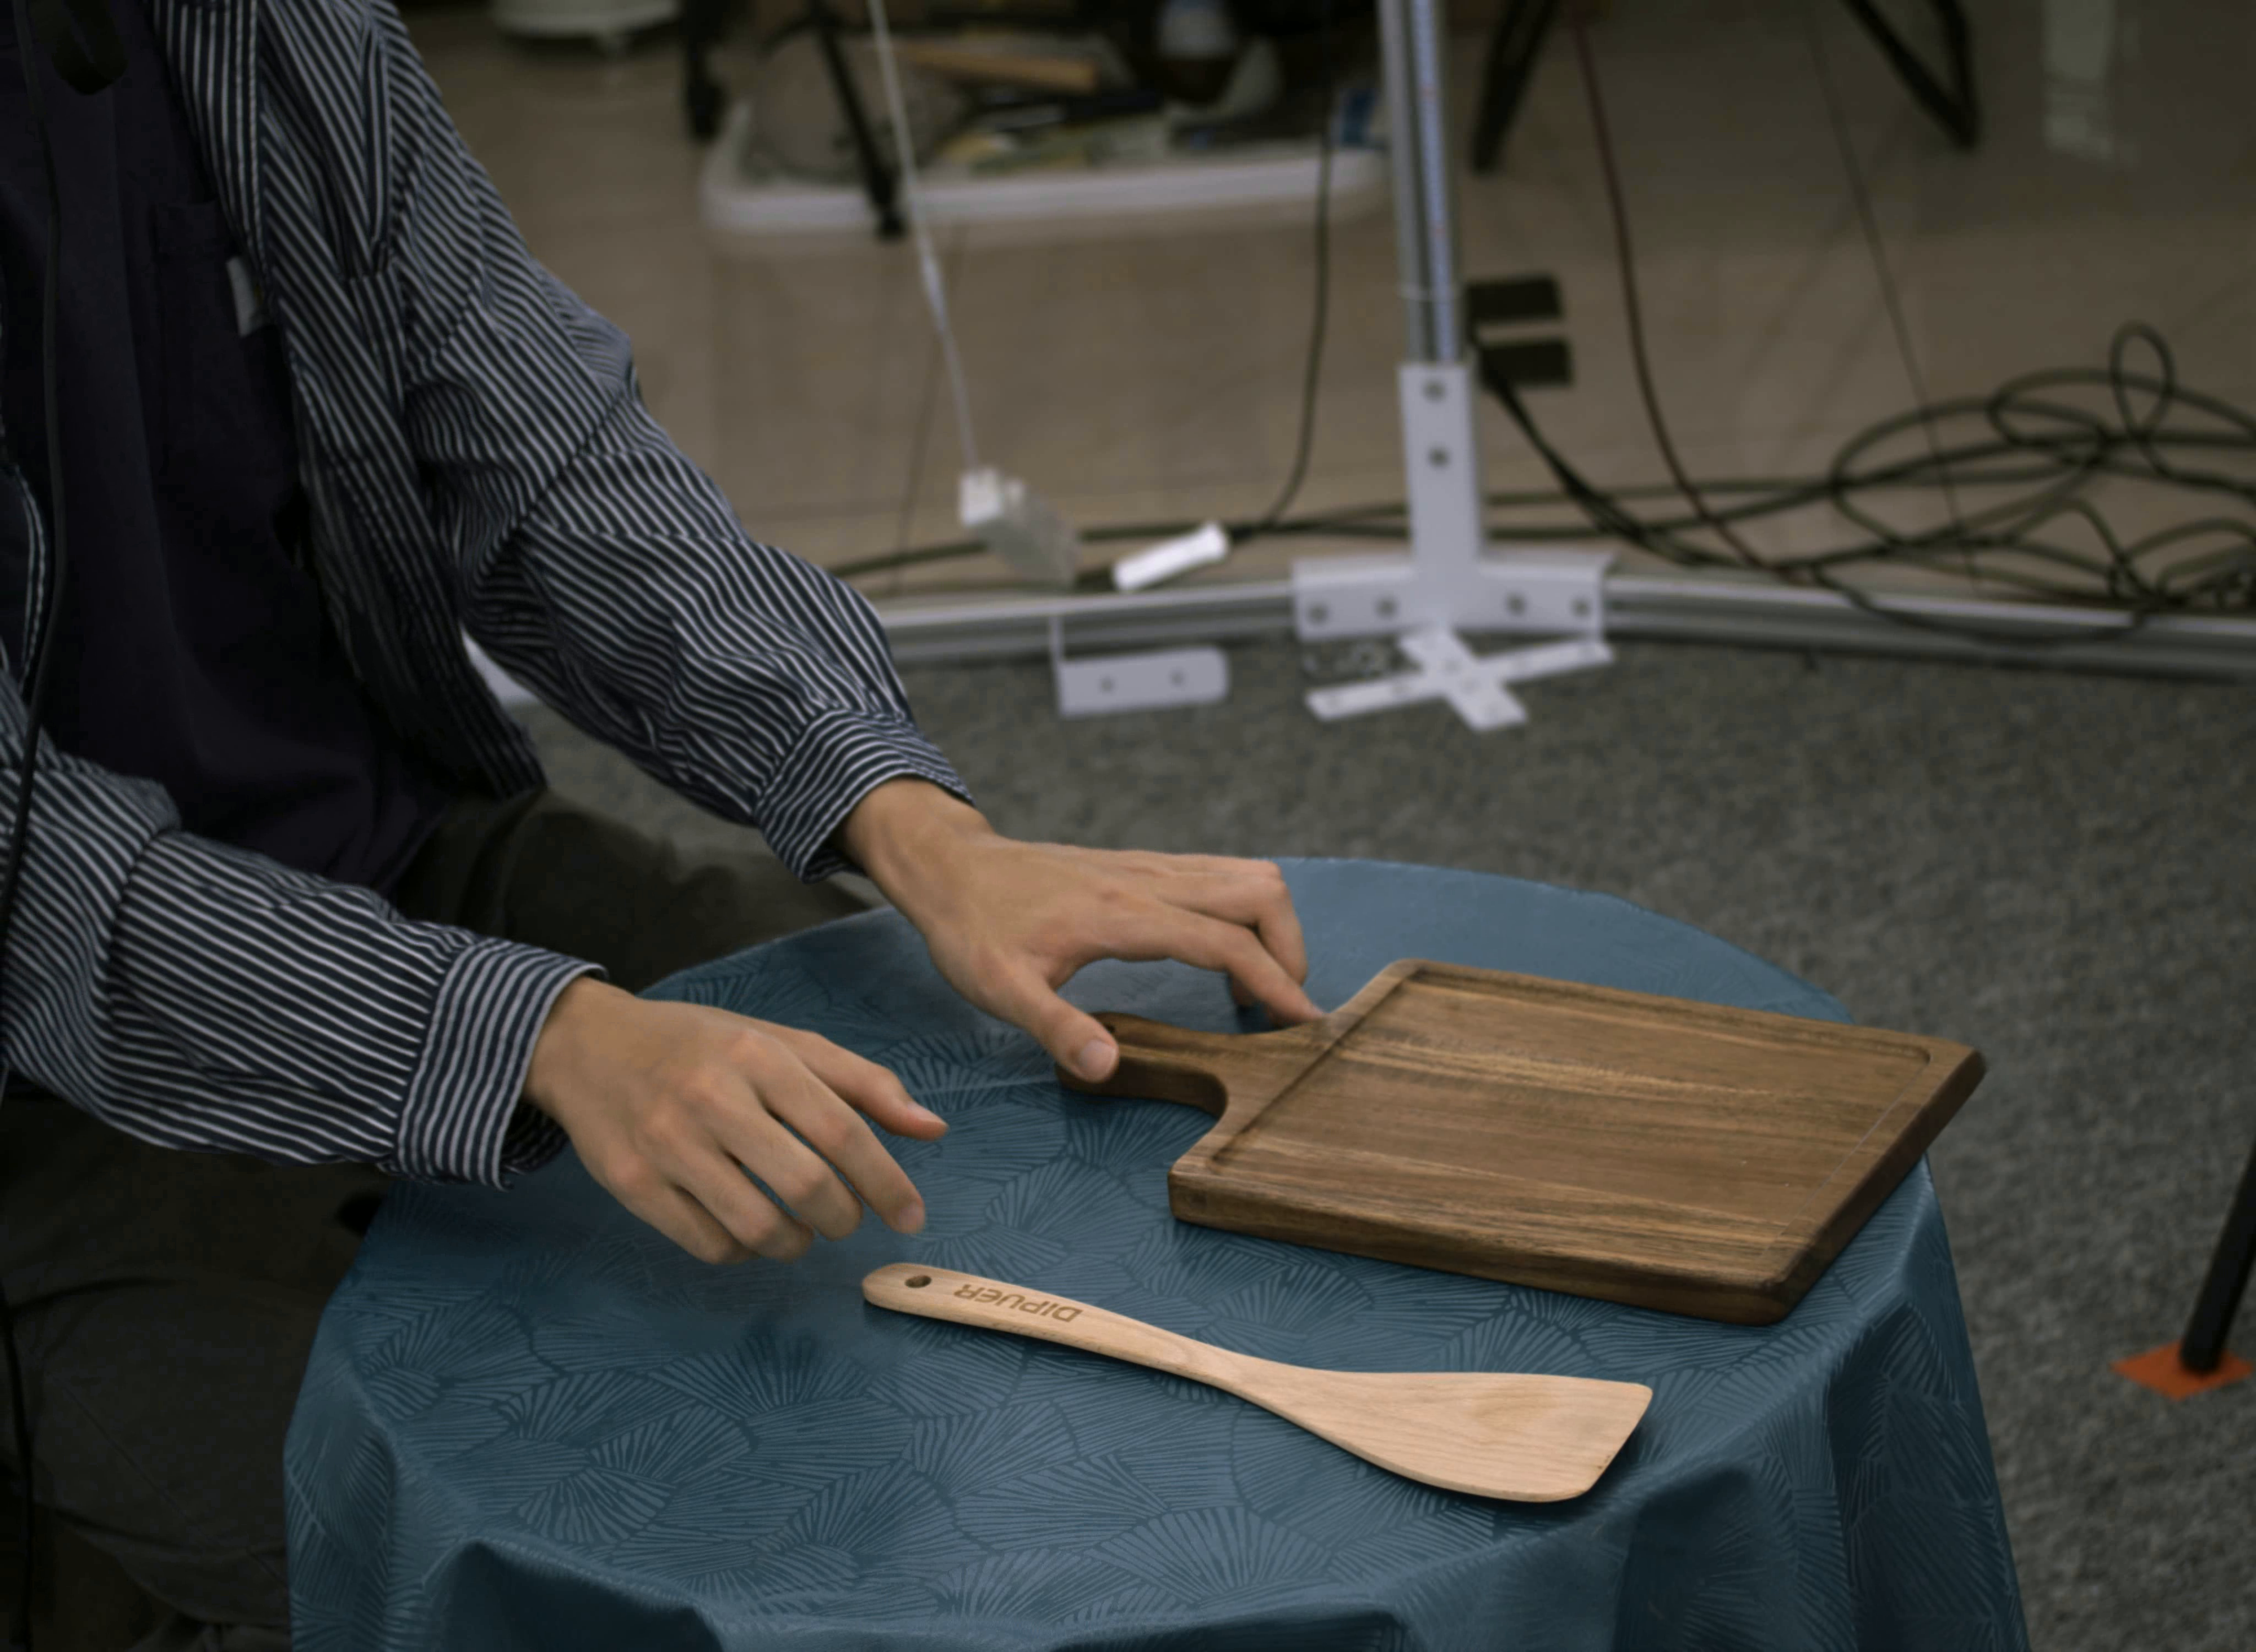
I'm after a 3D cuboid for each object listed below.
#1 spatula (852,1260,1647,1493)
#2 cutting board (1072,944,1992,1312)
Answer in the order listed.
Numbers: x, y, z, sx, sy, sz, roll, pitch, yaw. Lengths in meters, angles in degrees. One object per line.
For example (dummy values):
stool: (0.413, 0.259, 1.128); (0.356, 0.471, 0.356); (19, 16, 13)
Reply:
spatula: (0.036, 0.188, 2.019); (0.326, 0.017, 0.079); (11, 30, 32)
cutting board: (0.133, 0.103, 2.169); (0.350, 0.023, 0.198); (9, 29, 30)
